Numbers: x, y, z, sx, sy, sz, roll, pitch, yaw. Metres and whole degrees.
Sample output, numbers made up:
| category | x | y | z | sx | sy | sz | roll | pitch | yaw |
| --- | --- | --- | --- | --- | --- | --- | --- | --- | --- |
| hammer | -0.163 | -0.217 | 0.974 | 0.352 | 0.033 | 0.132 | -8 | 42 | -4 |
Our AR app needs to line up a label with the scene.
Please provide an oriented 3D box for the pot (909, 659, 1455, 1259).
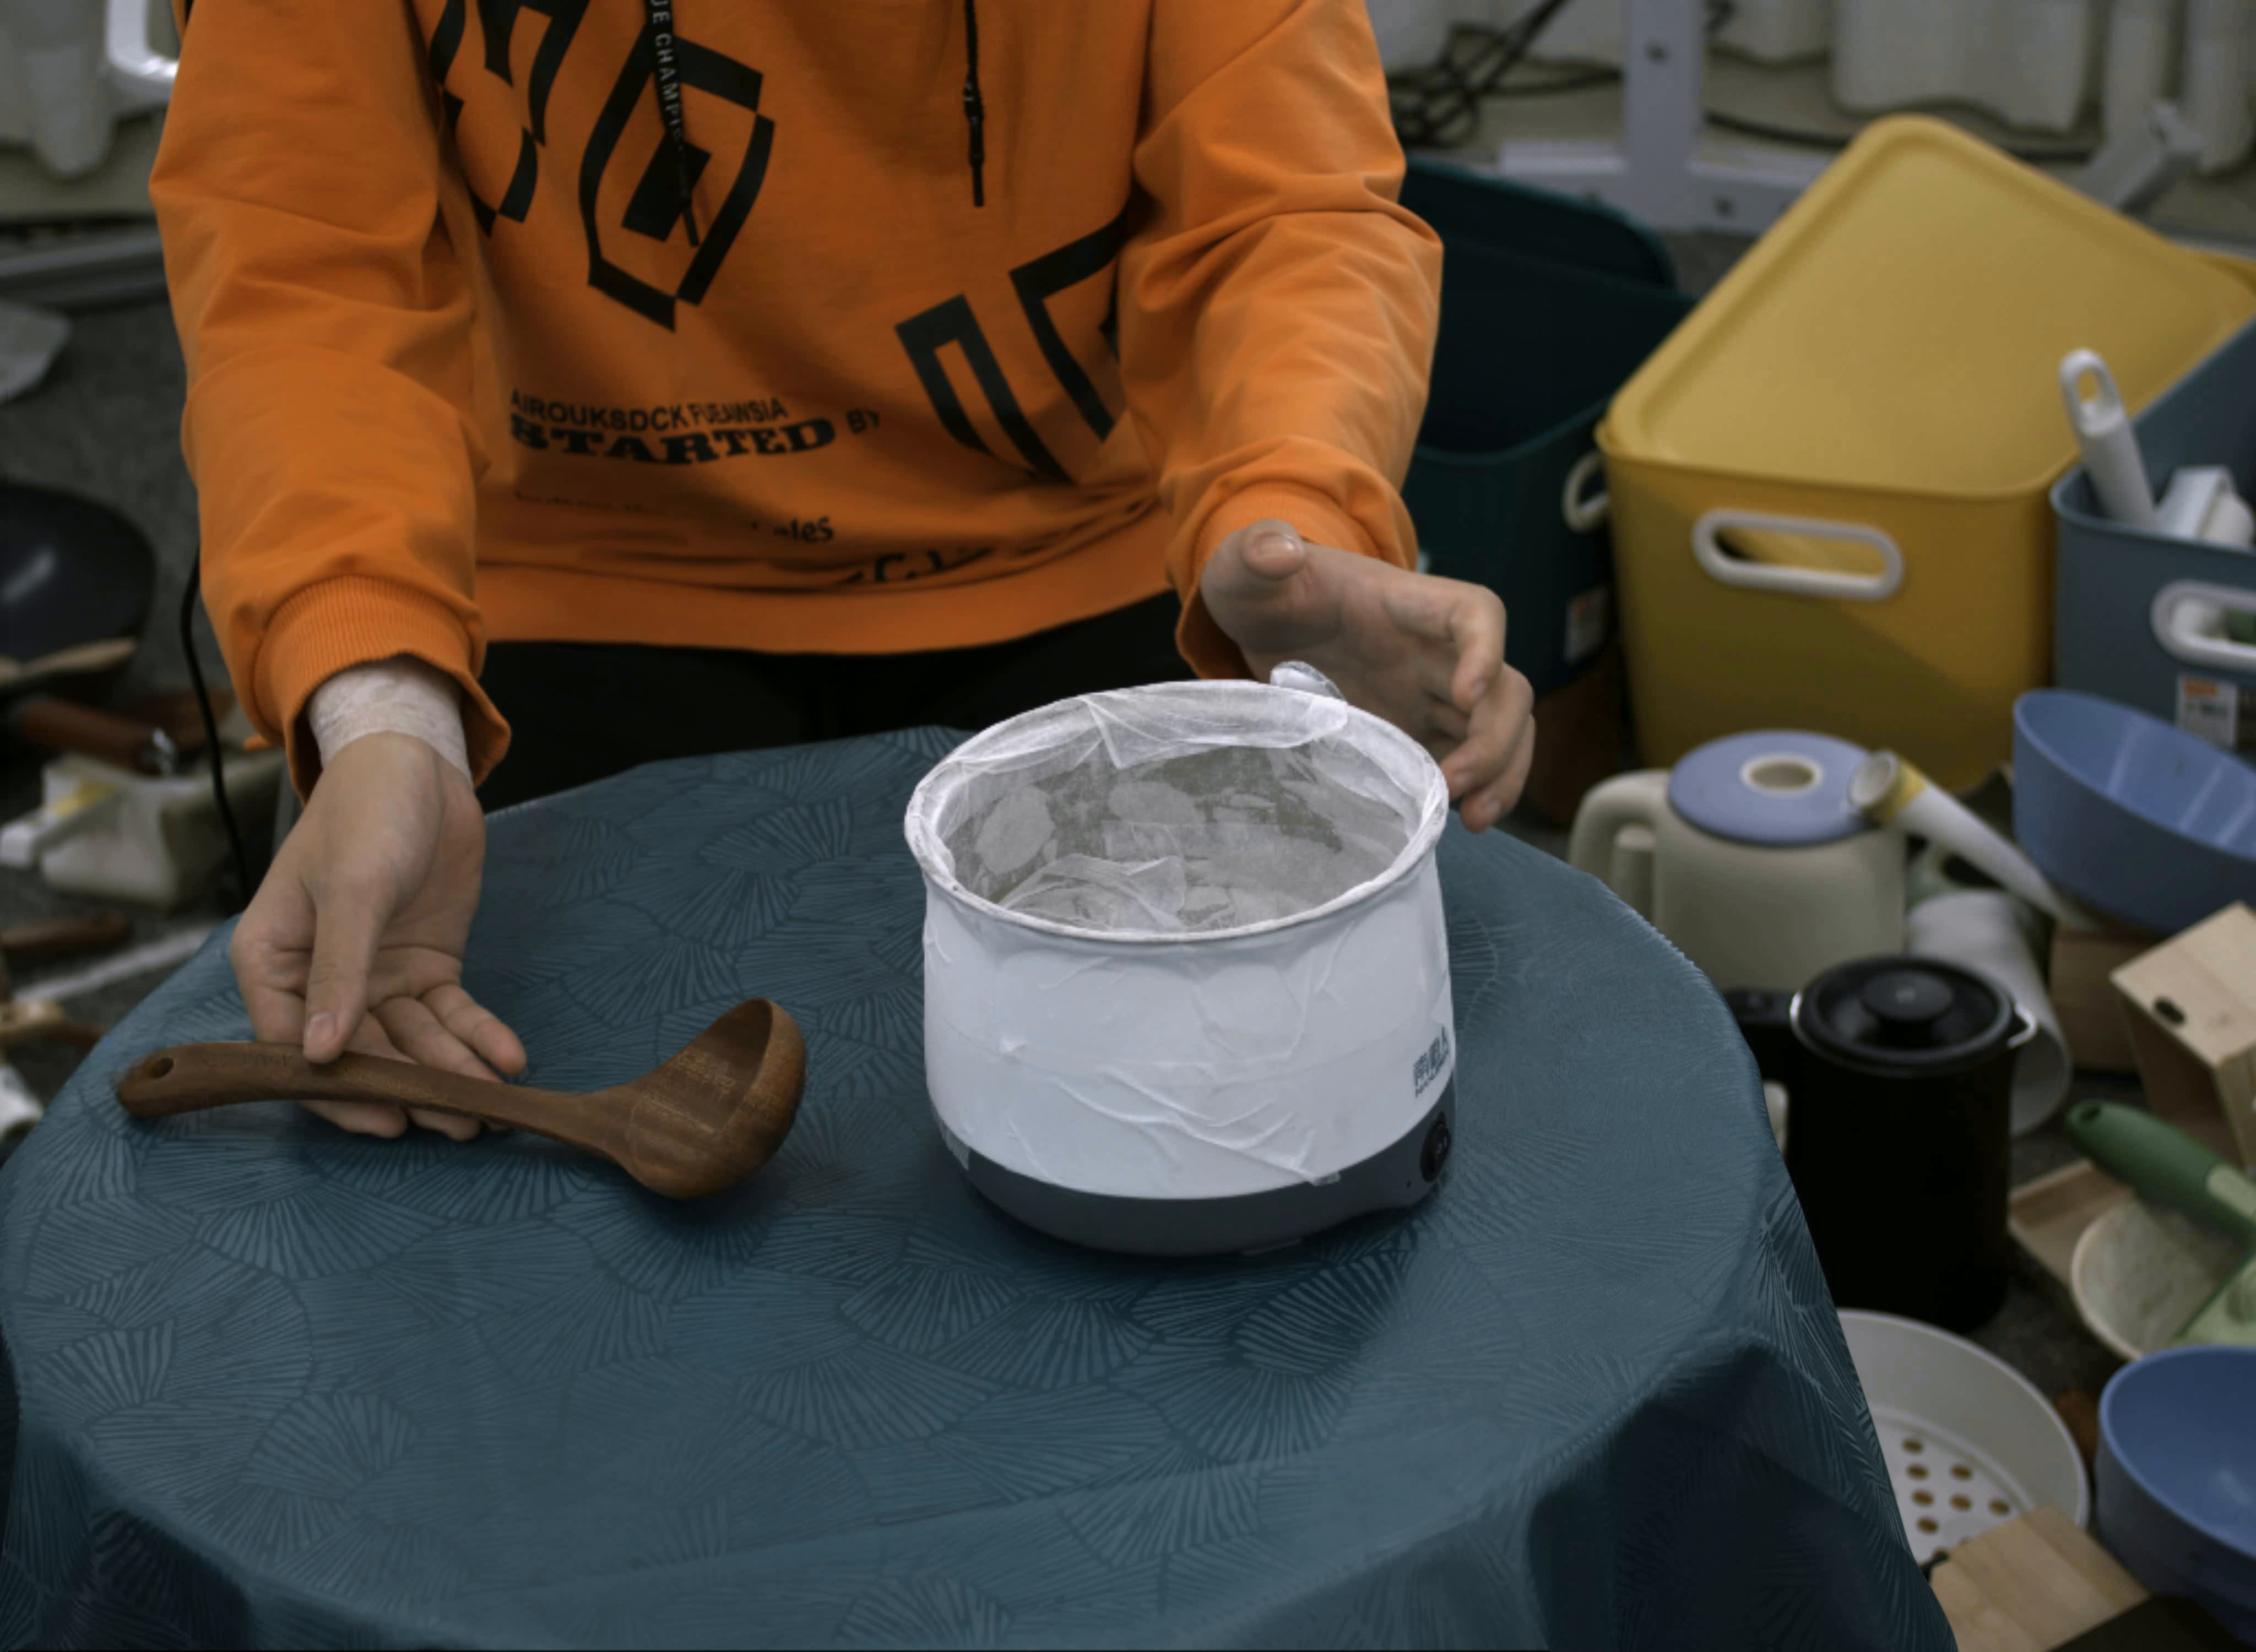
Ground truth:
| category | x | y | z | sx | sy | sz | roll | pitch | yaw |
| --- | --- | --- | --- | --- | --- | --- | --- | --- | --- |
| pot | 0.030 | 0.036 | 1.877 | 0.177 | 0.135 | 0.238 | 9 | 30 | 21 |

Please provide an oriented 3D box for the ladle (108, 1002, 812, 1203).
| category | x | y | z | sx | sy | sz | roll | pitch | yaw |
| --- | --- | --- | --- | --- | --- | --- | --- | --- | --- |
| ladle | -0.229 | 0.084 | 1.890 | 0.258 | 0.064 | 0.078 | 6 | 41 | 15 |
